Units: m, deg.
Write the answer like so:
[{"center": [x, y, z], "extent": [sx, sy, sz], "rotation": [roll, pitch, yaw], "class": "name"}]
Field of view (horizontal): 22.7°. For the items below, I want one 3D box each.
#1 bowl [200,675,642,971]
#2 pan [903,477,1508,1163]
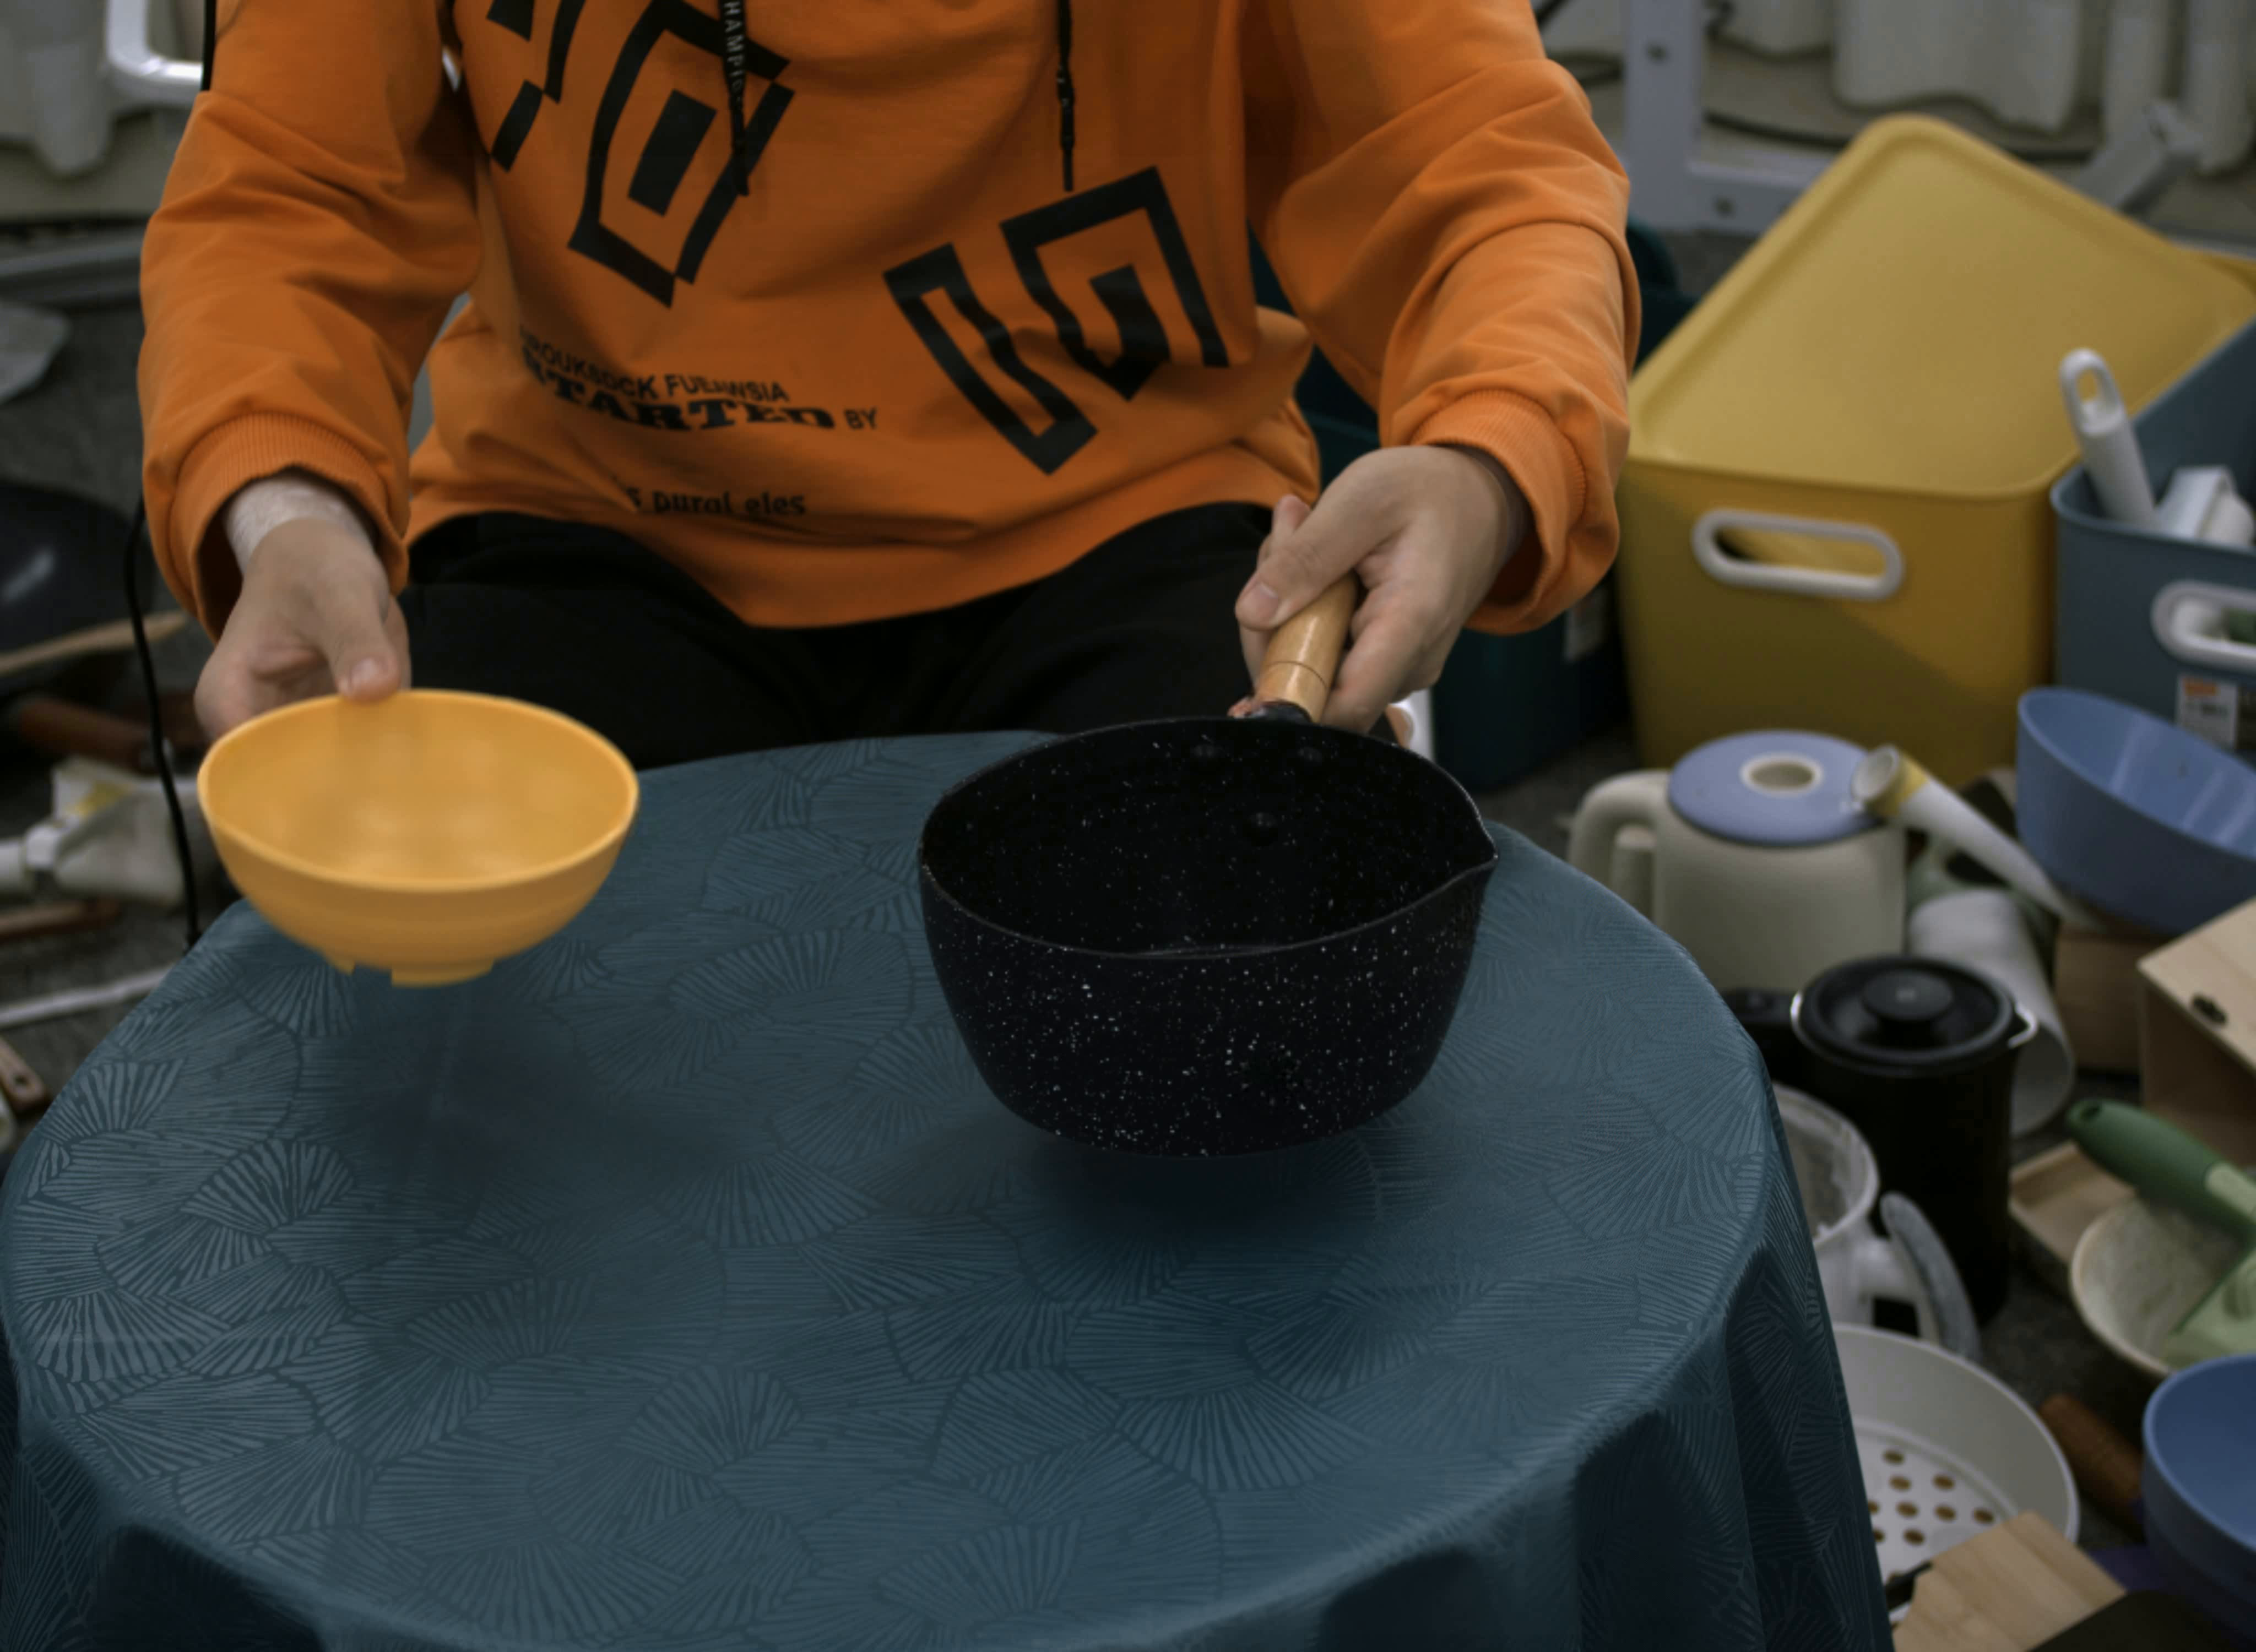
[{"center": [-0.234, 0.007, 1.857], "extent": [0.145, 0.059, 0.147], "rotation": [6, 25, -2], "class": "bowl"}, {"center": [0.042, -0.006, 1.923], "extent": [0.206, 0.107, 0.348], "rotation": [2, 26, 13], "class": "pan"}]
